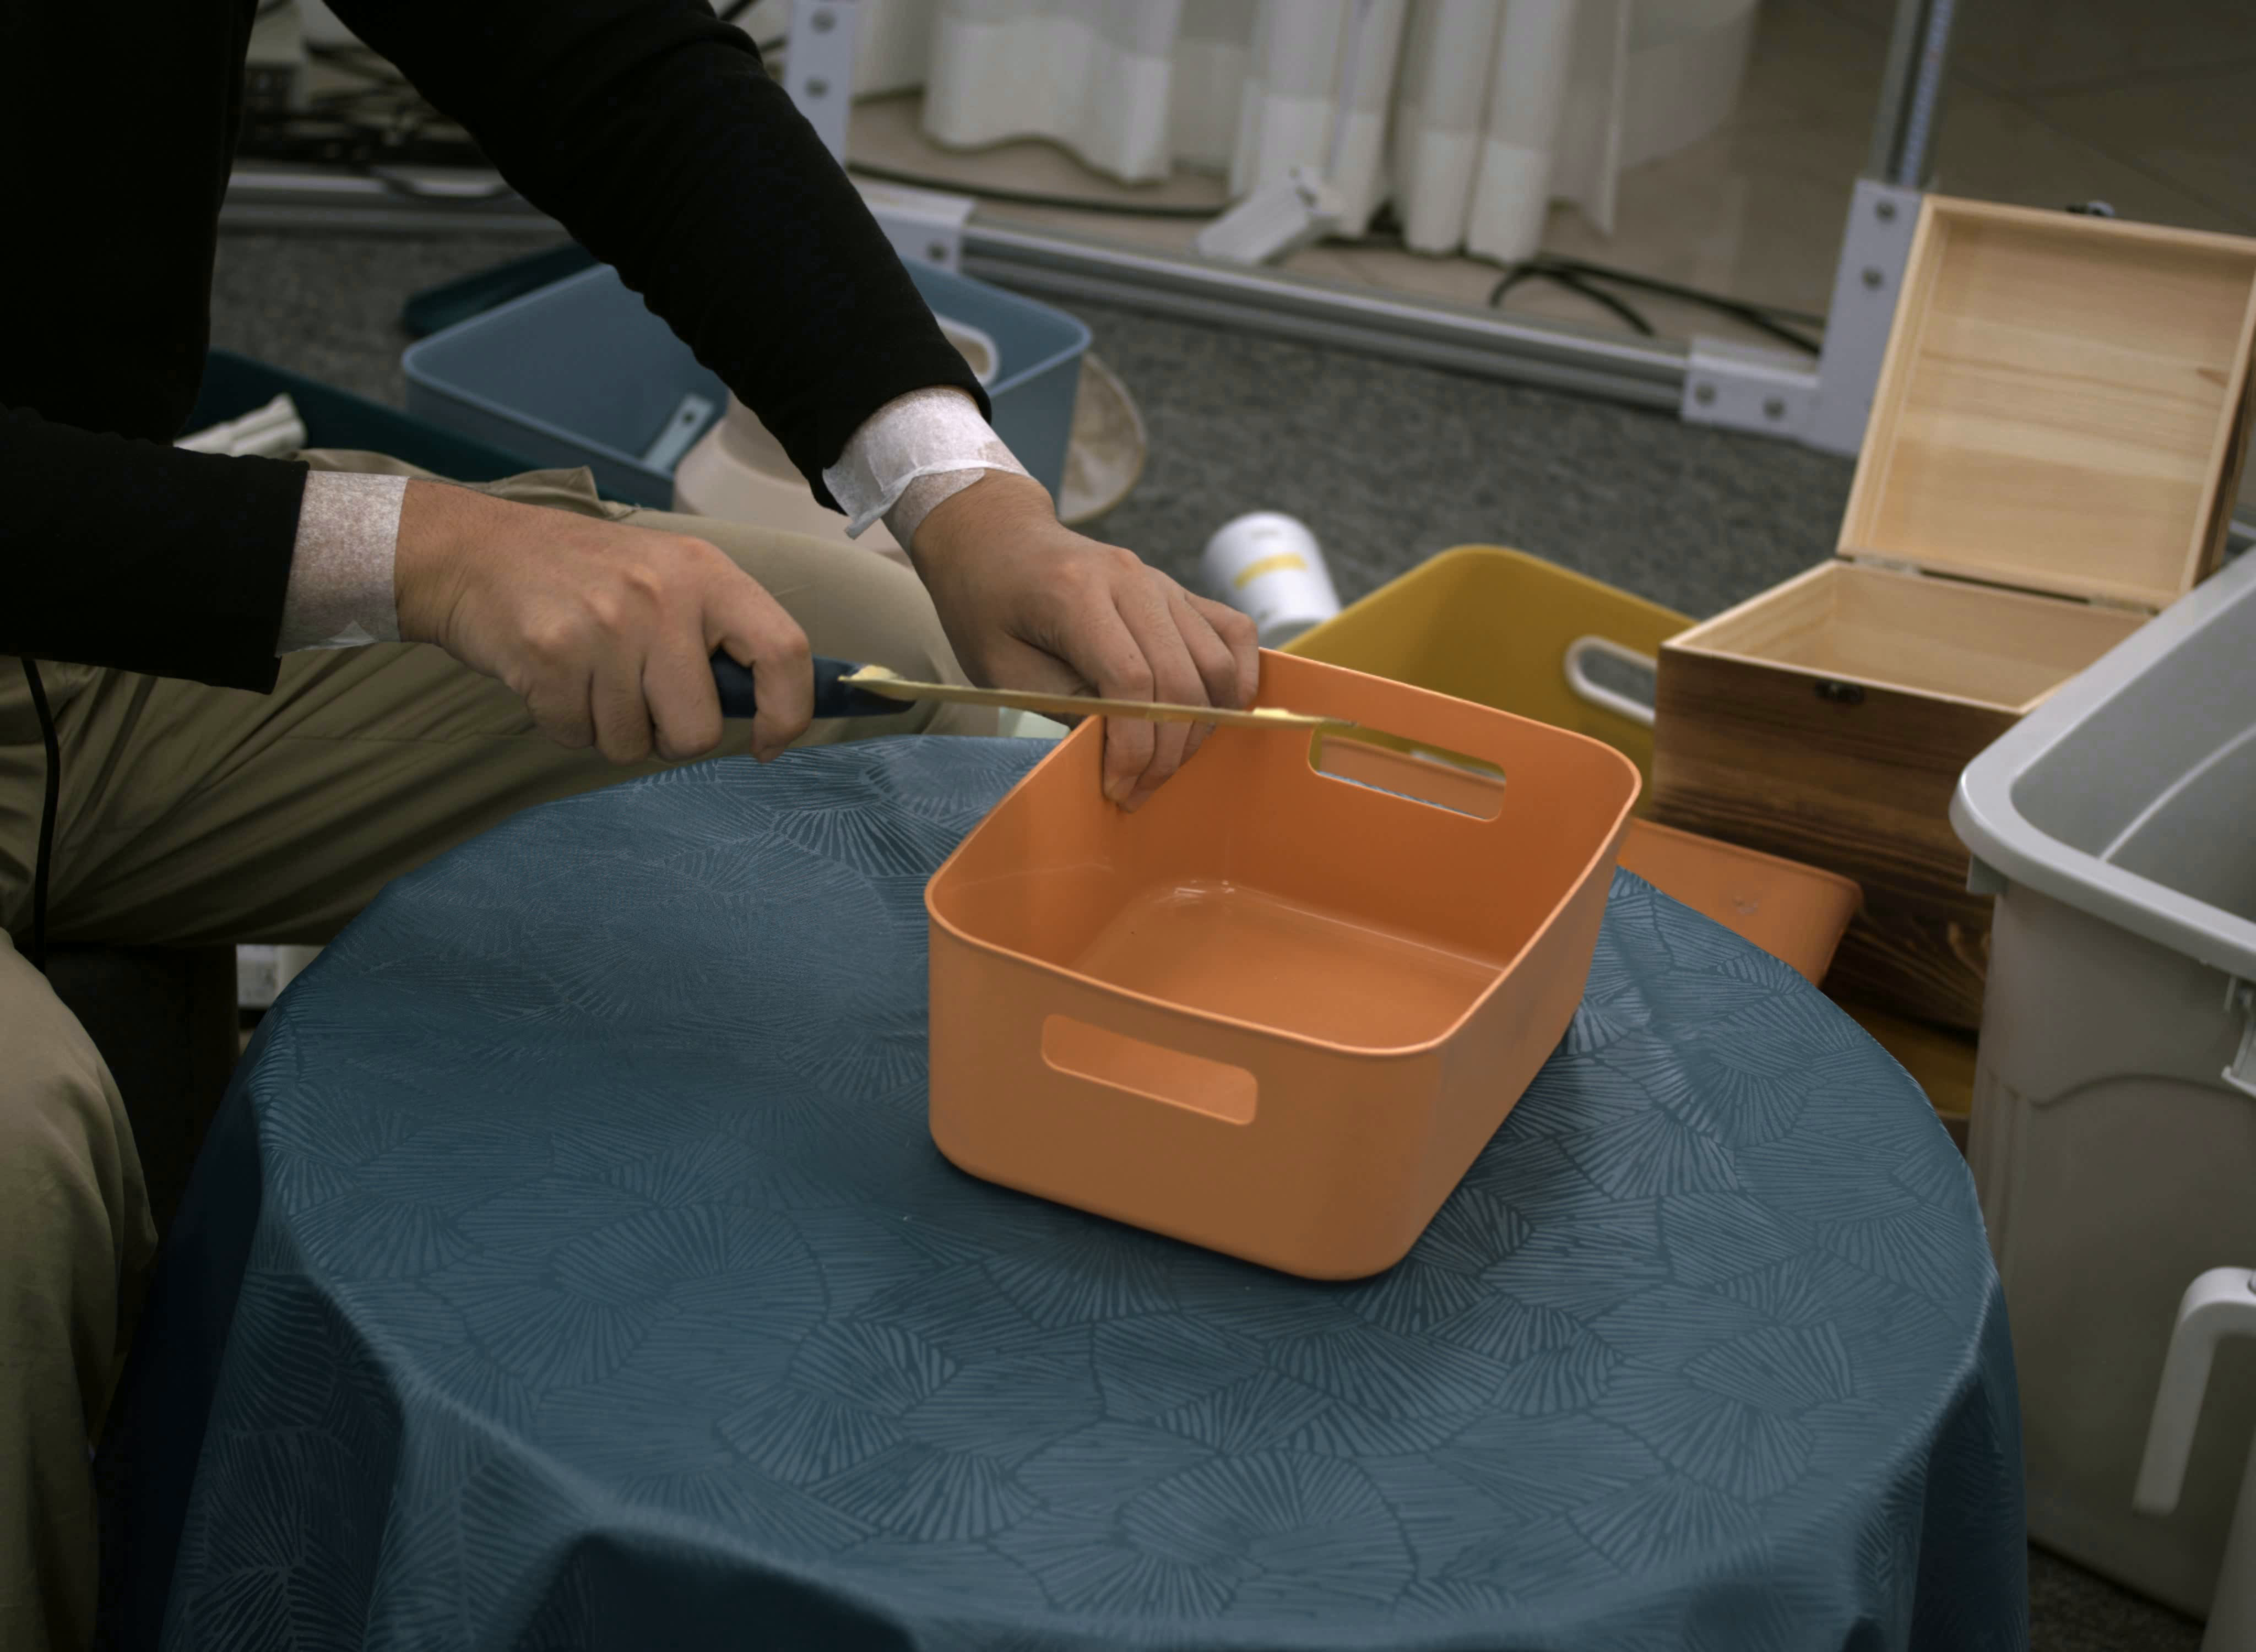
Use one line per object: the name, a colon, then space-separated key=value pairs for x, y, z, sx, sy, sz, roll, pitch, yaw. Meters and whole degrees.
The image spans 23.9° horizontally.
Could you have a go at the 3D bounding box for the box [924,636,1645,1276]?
box: x=0.051 y=0.044 z=1.856 sx=0.200 sy=0.102 sz=0.273 roll=16 pitch=29 yaw=17

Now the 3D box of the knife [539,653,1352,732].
knife: x=-0.066 y=-0.045 z=1.809 sx=0.289 sy=0.027 sz=0.080 roll=2 pitch=-6 yaw=12
